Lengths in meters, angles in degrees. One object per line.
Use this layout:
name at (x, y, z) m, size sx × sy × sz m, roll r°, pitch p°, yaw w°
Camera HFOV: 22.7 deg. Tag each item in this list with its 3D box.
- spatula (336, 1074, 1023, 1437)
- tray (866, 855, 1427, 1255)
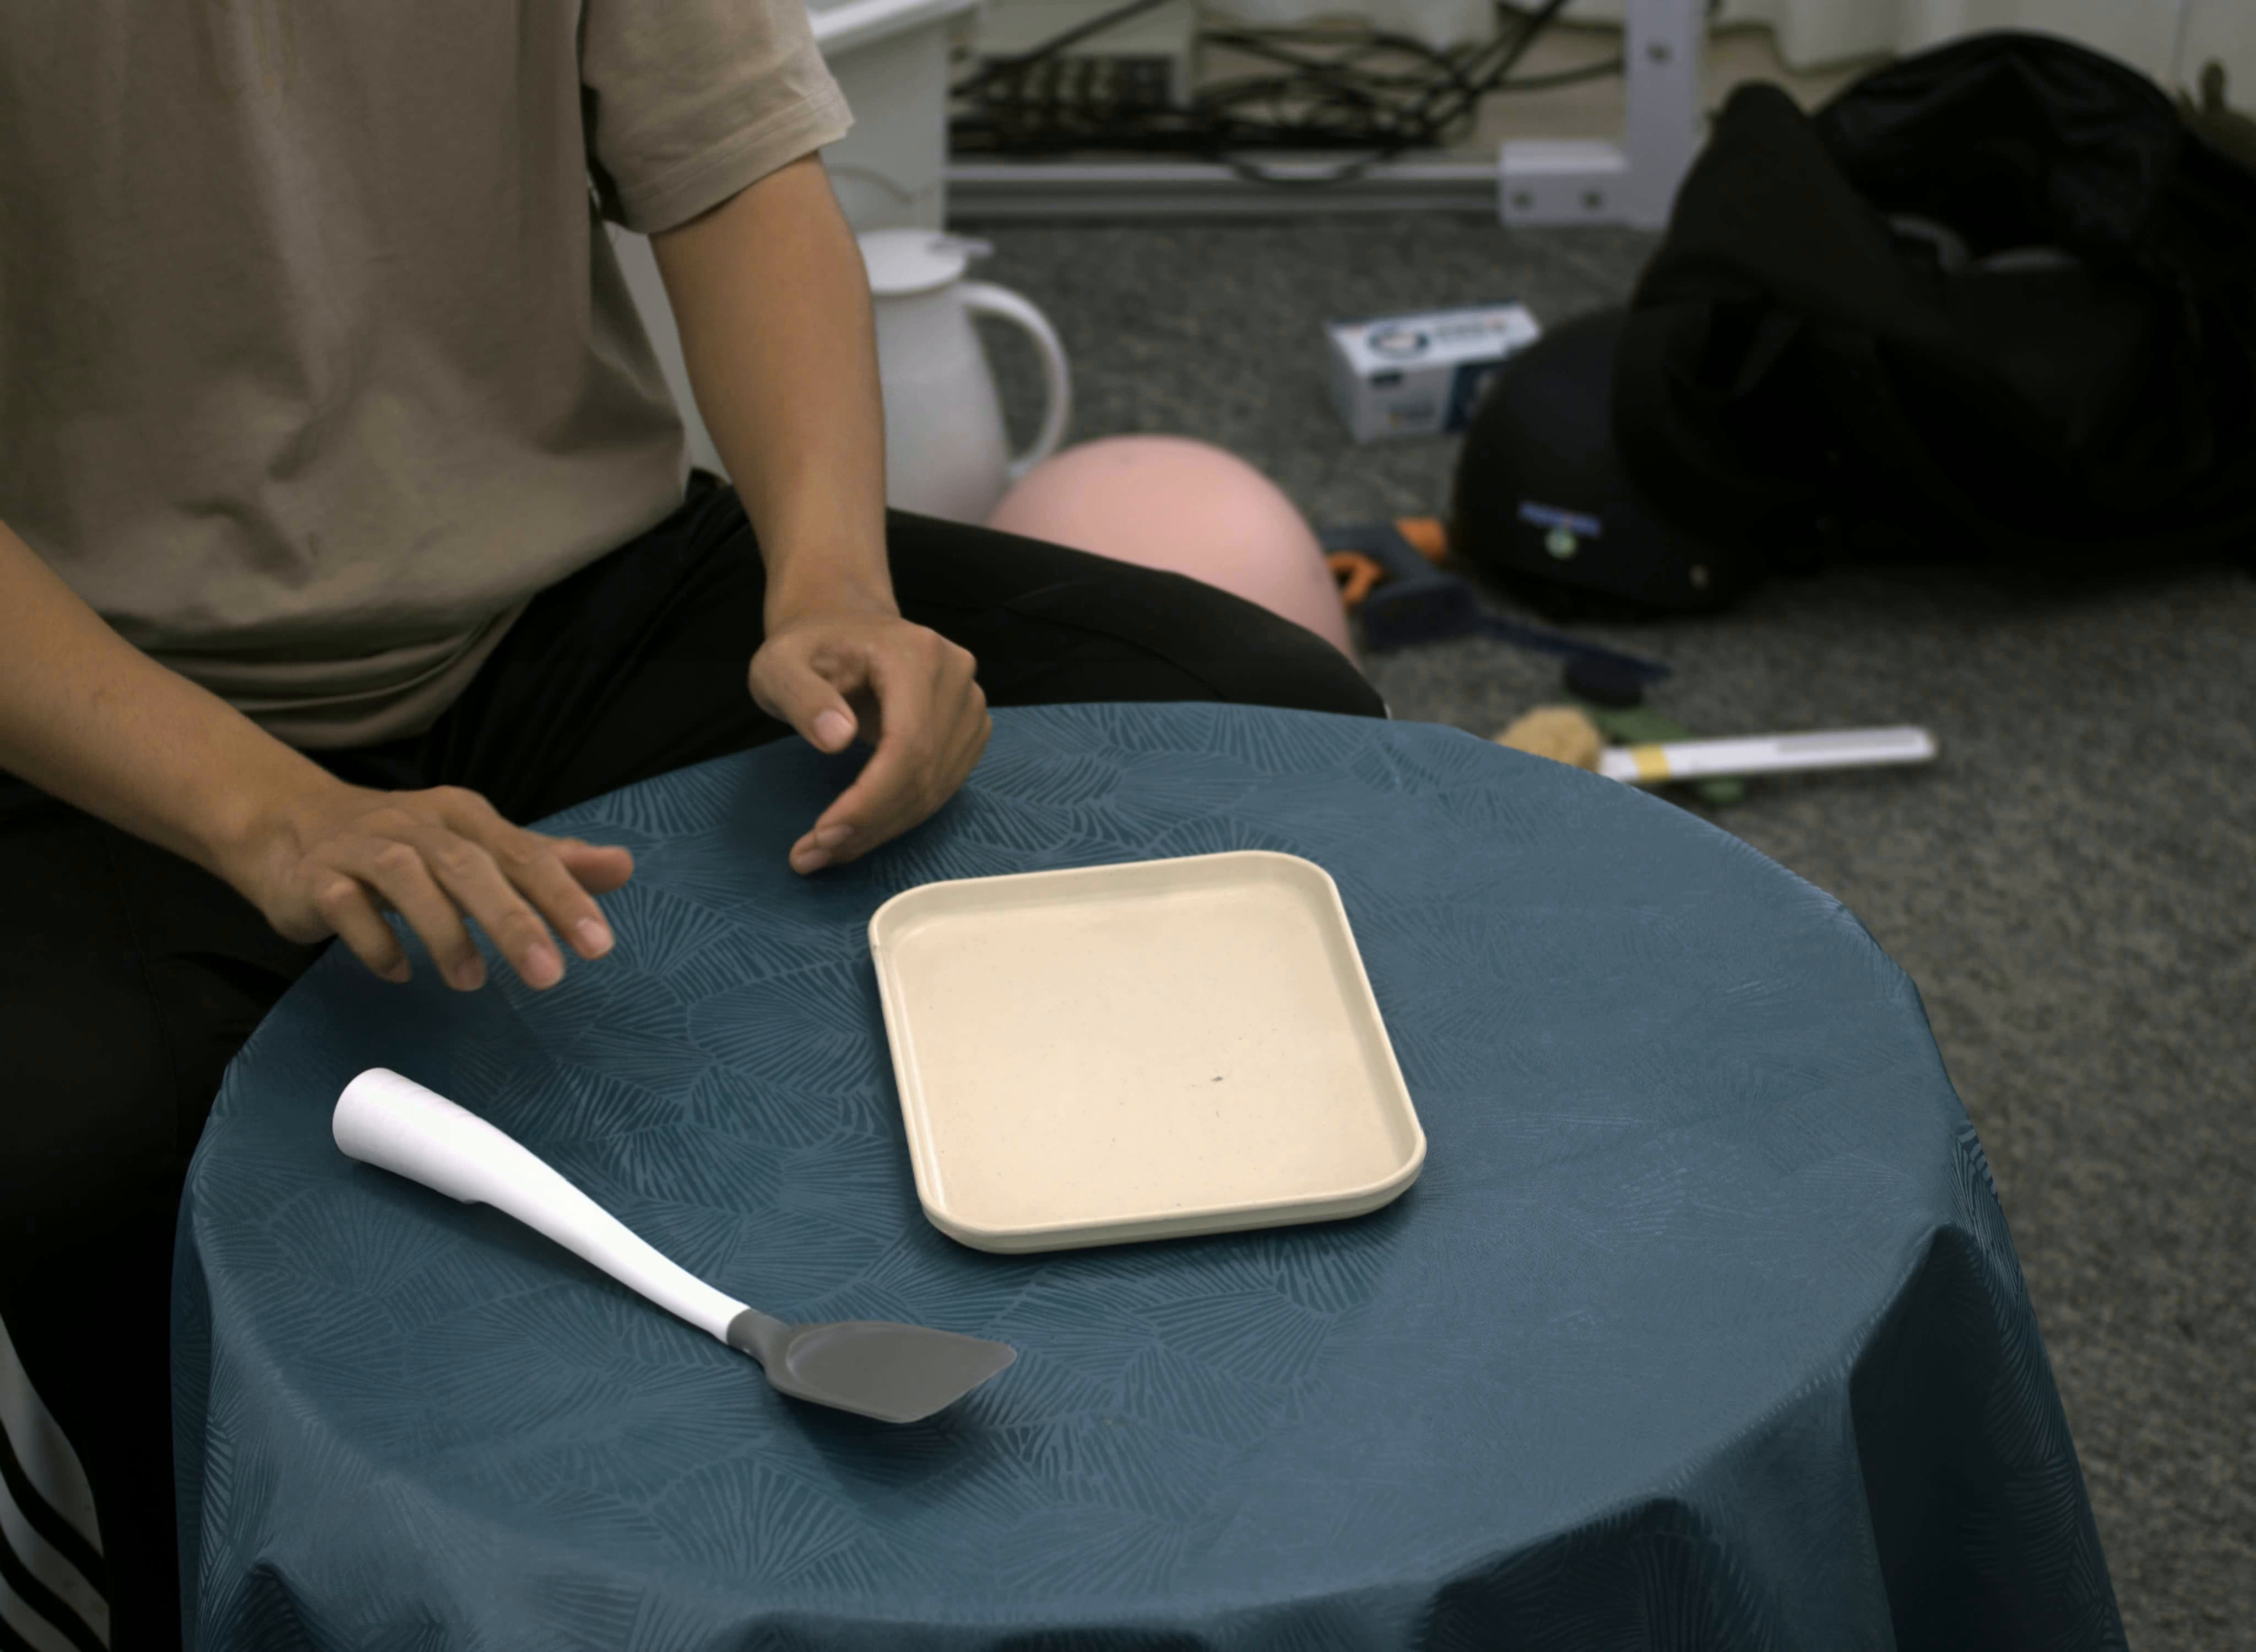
spatula at (-0.150, 0.141, 1.802) m, size 0.287 × 0.032 × 0.059 m, roll 22°, pitch 32°, yaw 38°
tray at (0.003, 0.078, 1.927) m, size 0.171 × 0.017 × 0.243 m, roll -5°, pitch 28°, yaw -6°
